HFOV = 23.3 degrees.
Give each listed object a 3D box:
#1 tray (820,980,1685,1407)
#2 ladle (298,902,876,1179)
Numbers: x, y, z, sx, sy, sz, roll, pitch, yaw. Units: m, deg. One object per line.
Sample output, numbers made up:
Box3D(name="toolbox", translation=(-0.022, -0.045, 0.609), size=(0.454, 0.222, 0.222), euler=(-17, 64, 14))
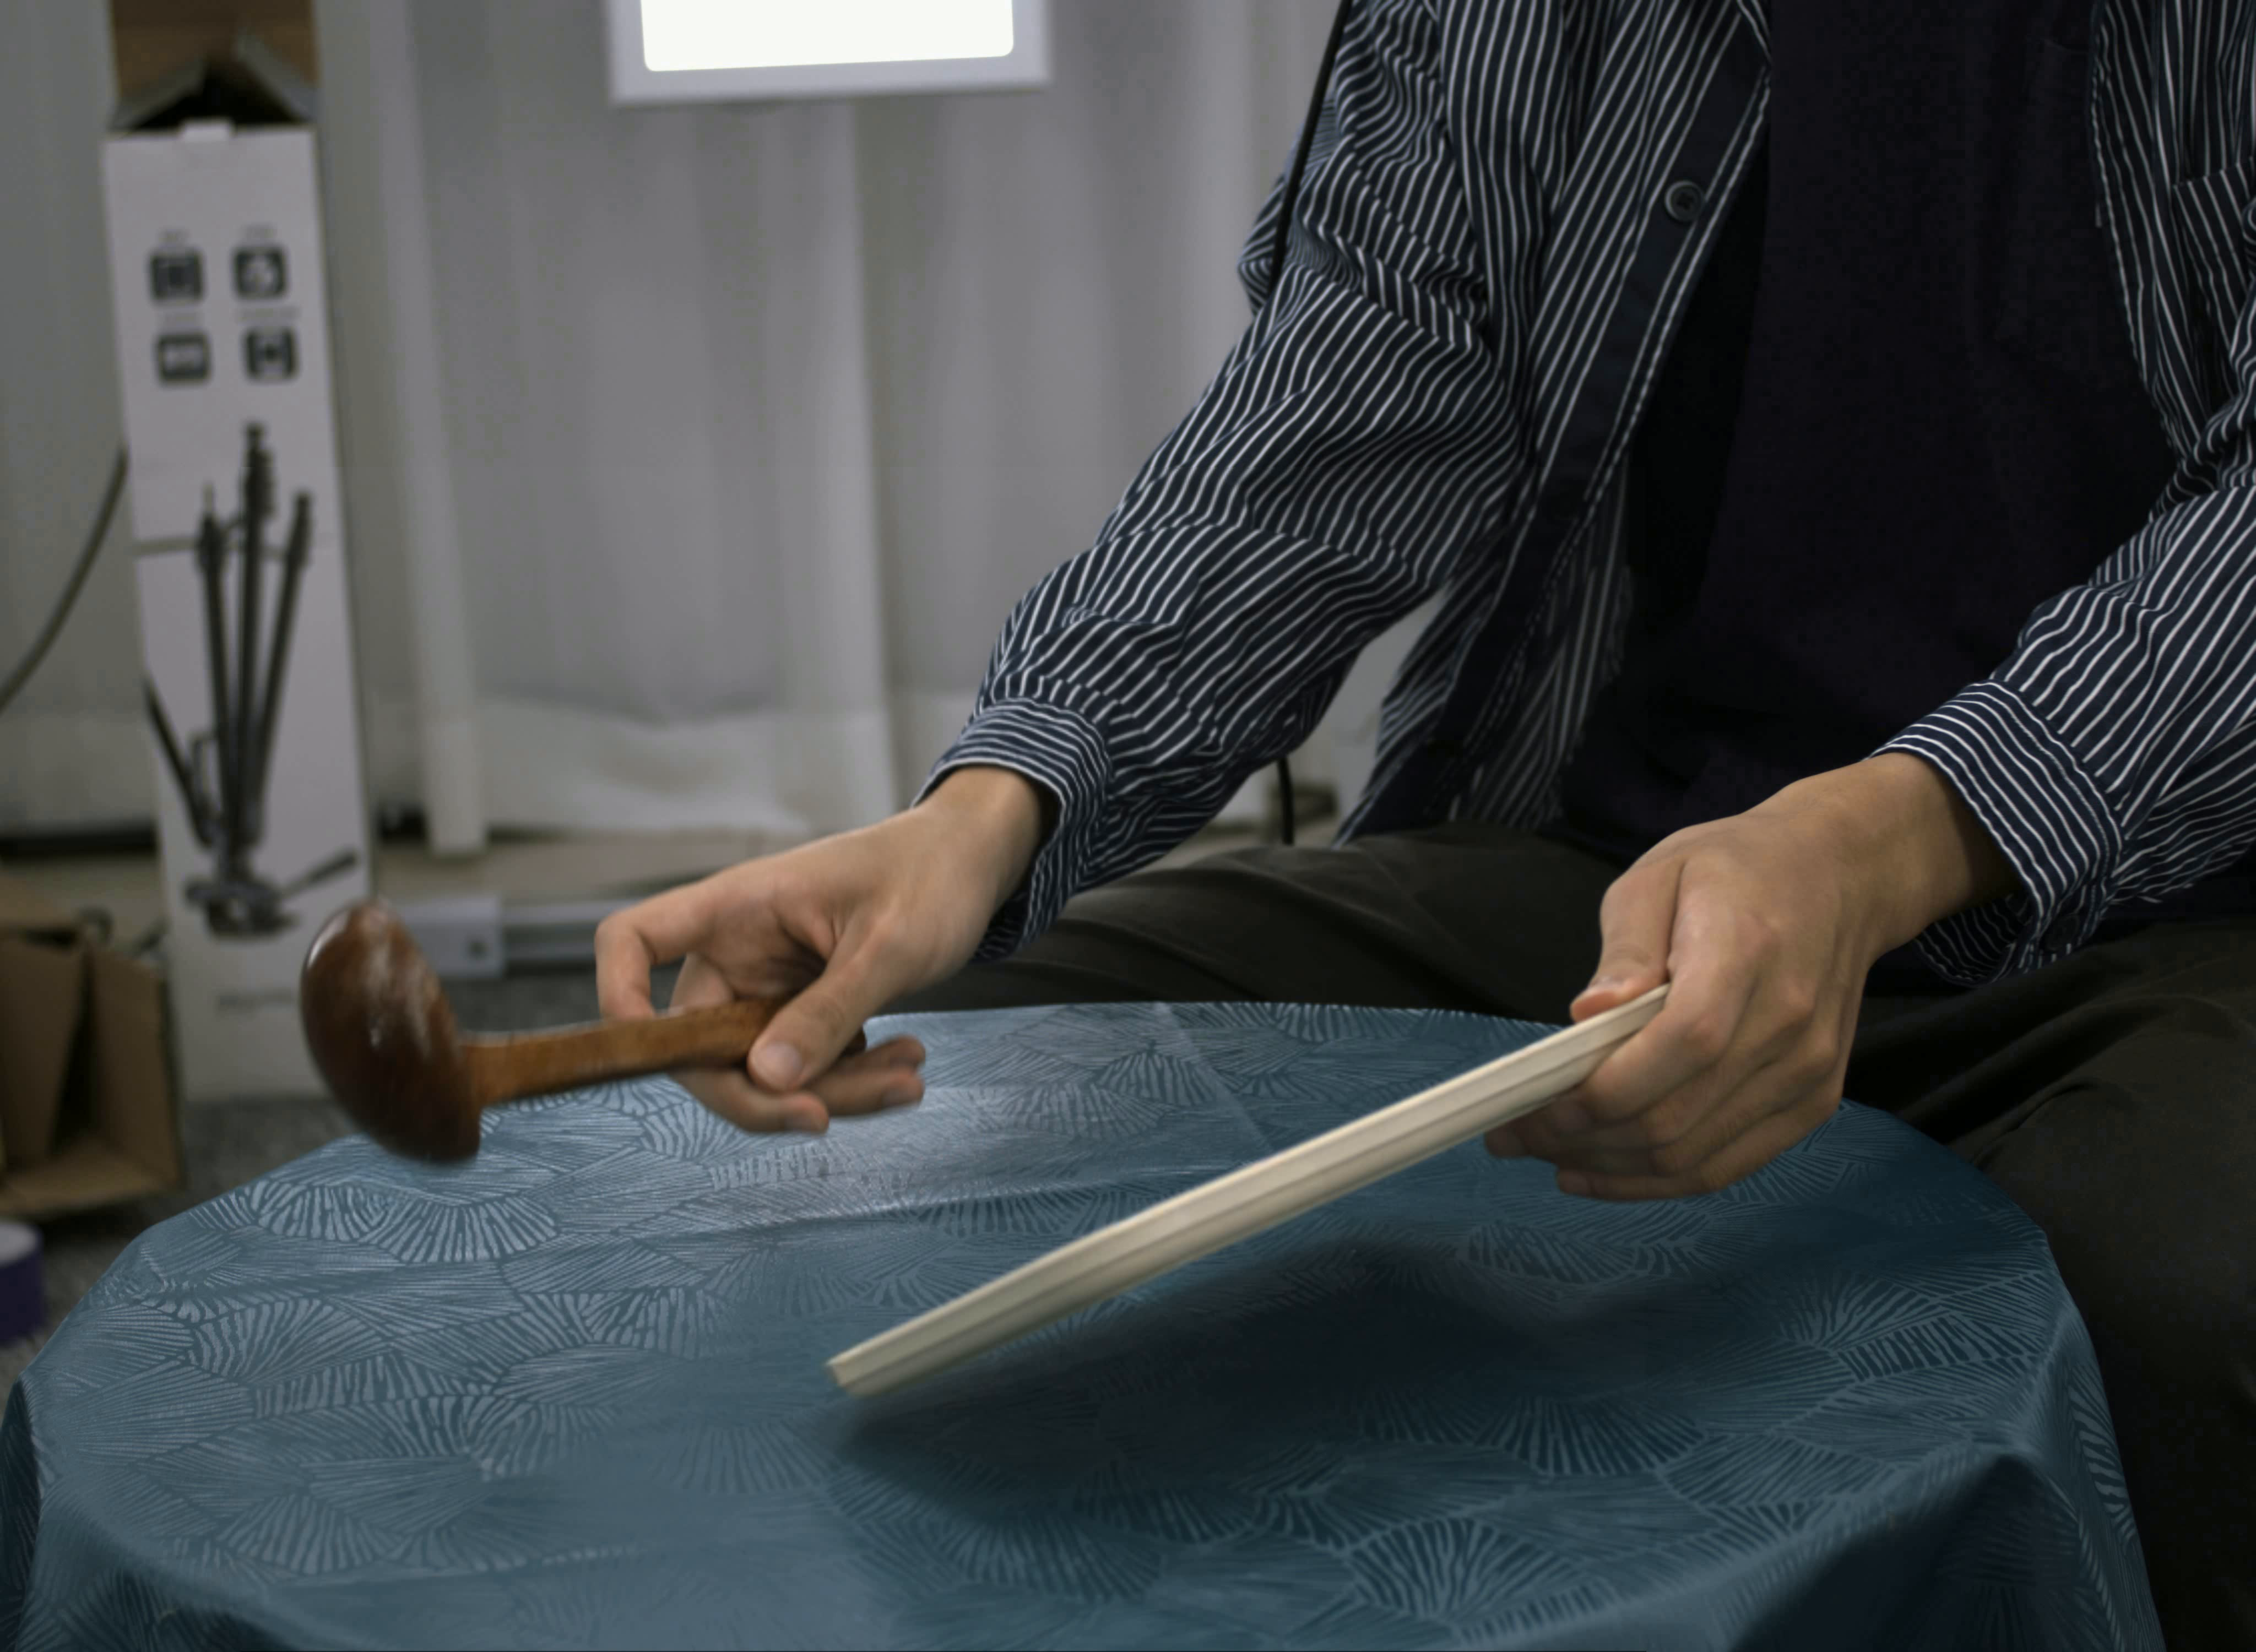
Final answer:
Box3D(name="tray", translation=(0.038, 0.105, 1.535), size=(0.239, 0.017, 0.170), euler=(-21, -6, -38))
Box3D(name="ladle", translation=(-0.146, 0.058, 1.630), size=(0.076, 0.083, 0.273), euler=(-35, -18, 32))
